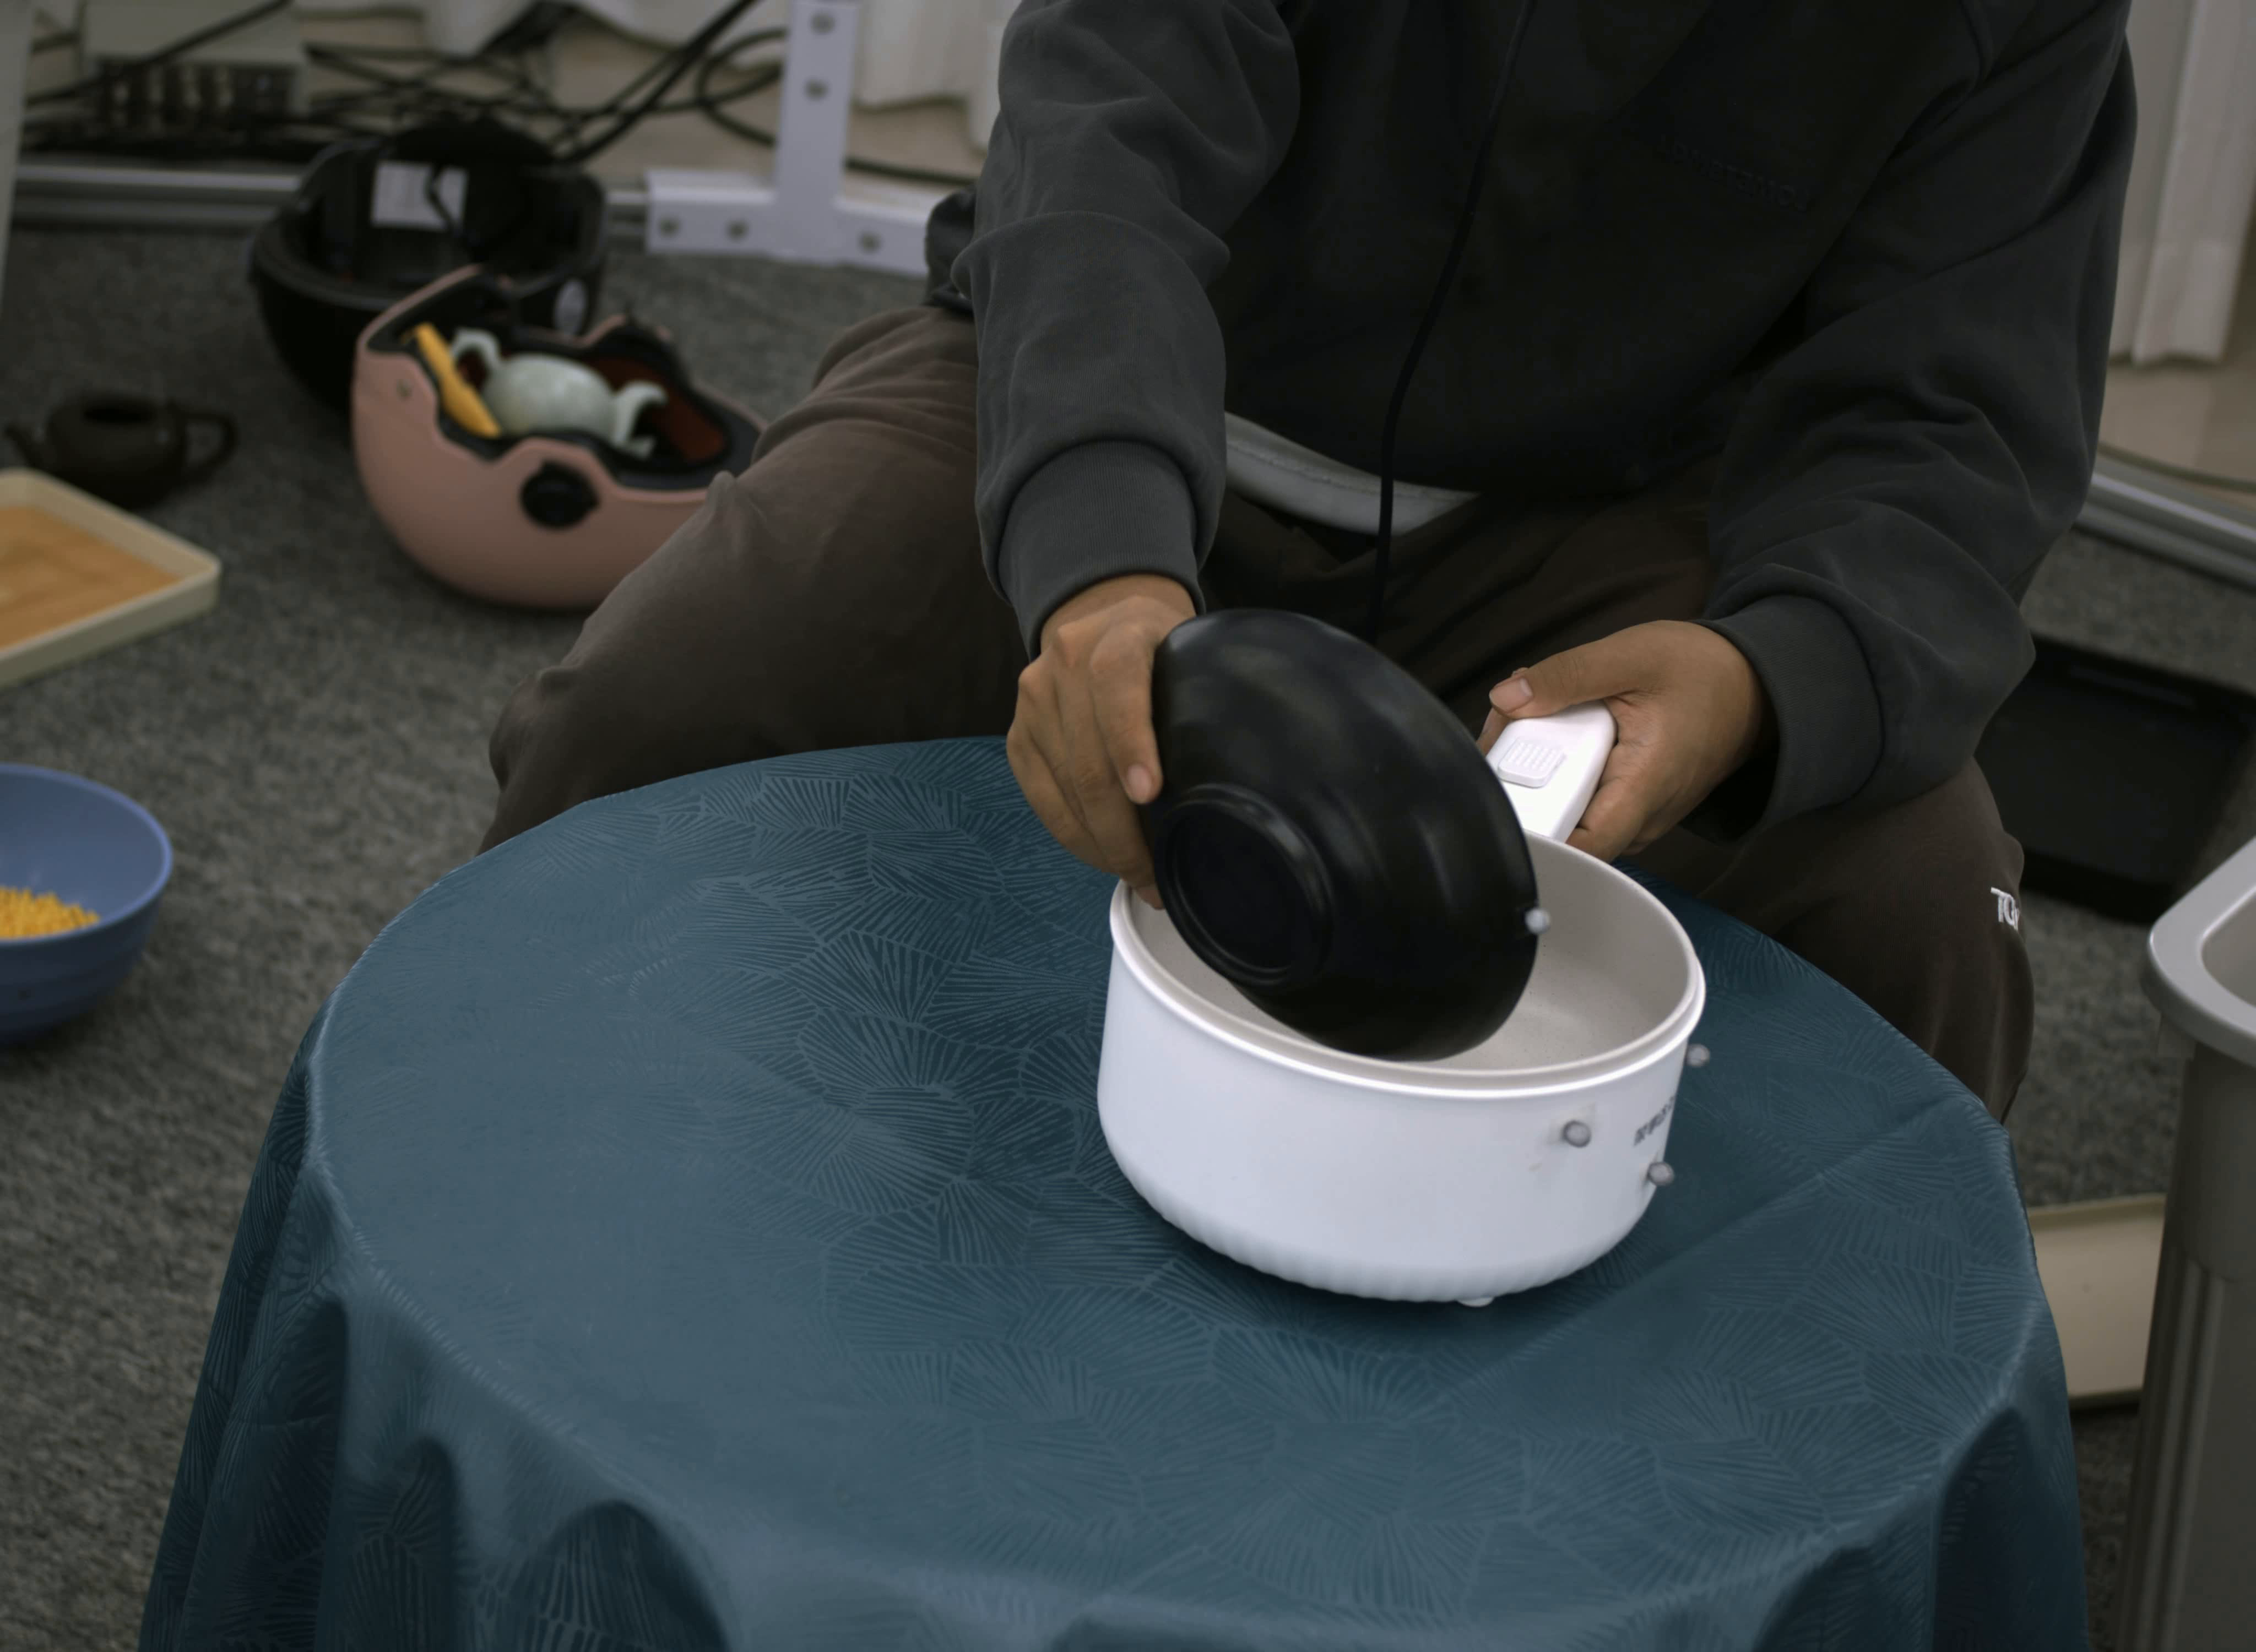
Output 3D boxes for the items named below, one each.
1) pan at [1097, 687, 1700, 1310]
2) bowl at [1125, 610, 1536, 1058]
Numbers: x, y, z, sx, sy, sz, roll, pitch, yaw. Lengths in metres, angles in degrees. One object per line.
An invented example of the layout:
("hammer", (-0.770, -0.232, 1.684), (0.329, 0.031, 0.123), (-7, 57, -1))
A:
("pan", (0.112, 0.055, 1.871), (0.201, 0.102, 0.355), (12, 25, 15))
("bowl", (0.054, 0.010, 1.730), (0.066, 0.137, 0.170), (-35, 92, -39))
